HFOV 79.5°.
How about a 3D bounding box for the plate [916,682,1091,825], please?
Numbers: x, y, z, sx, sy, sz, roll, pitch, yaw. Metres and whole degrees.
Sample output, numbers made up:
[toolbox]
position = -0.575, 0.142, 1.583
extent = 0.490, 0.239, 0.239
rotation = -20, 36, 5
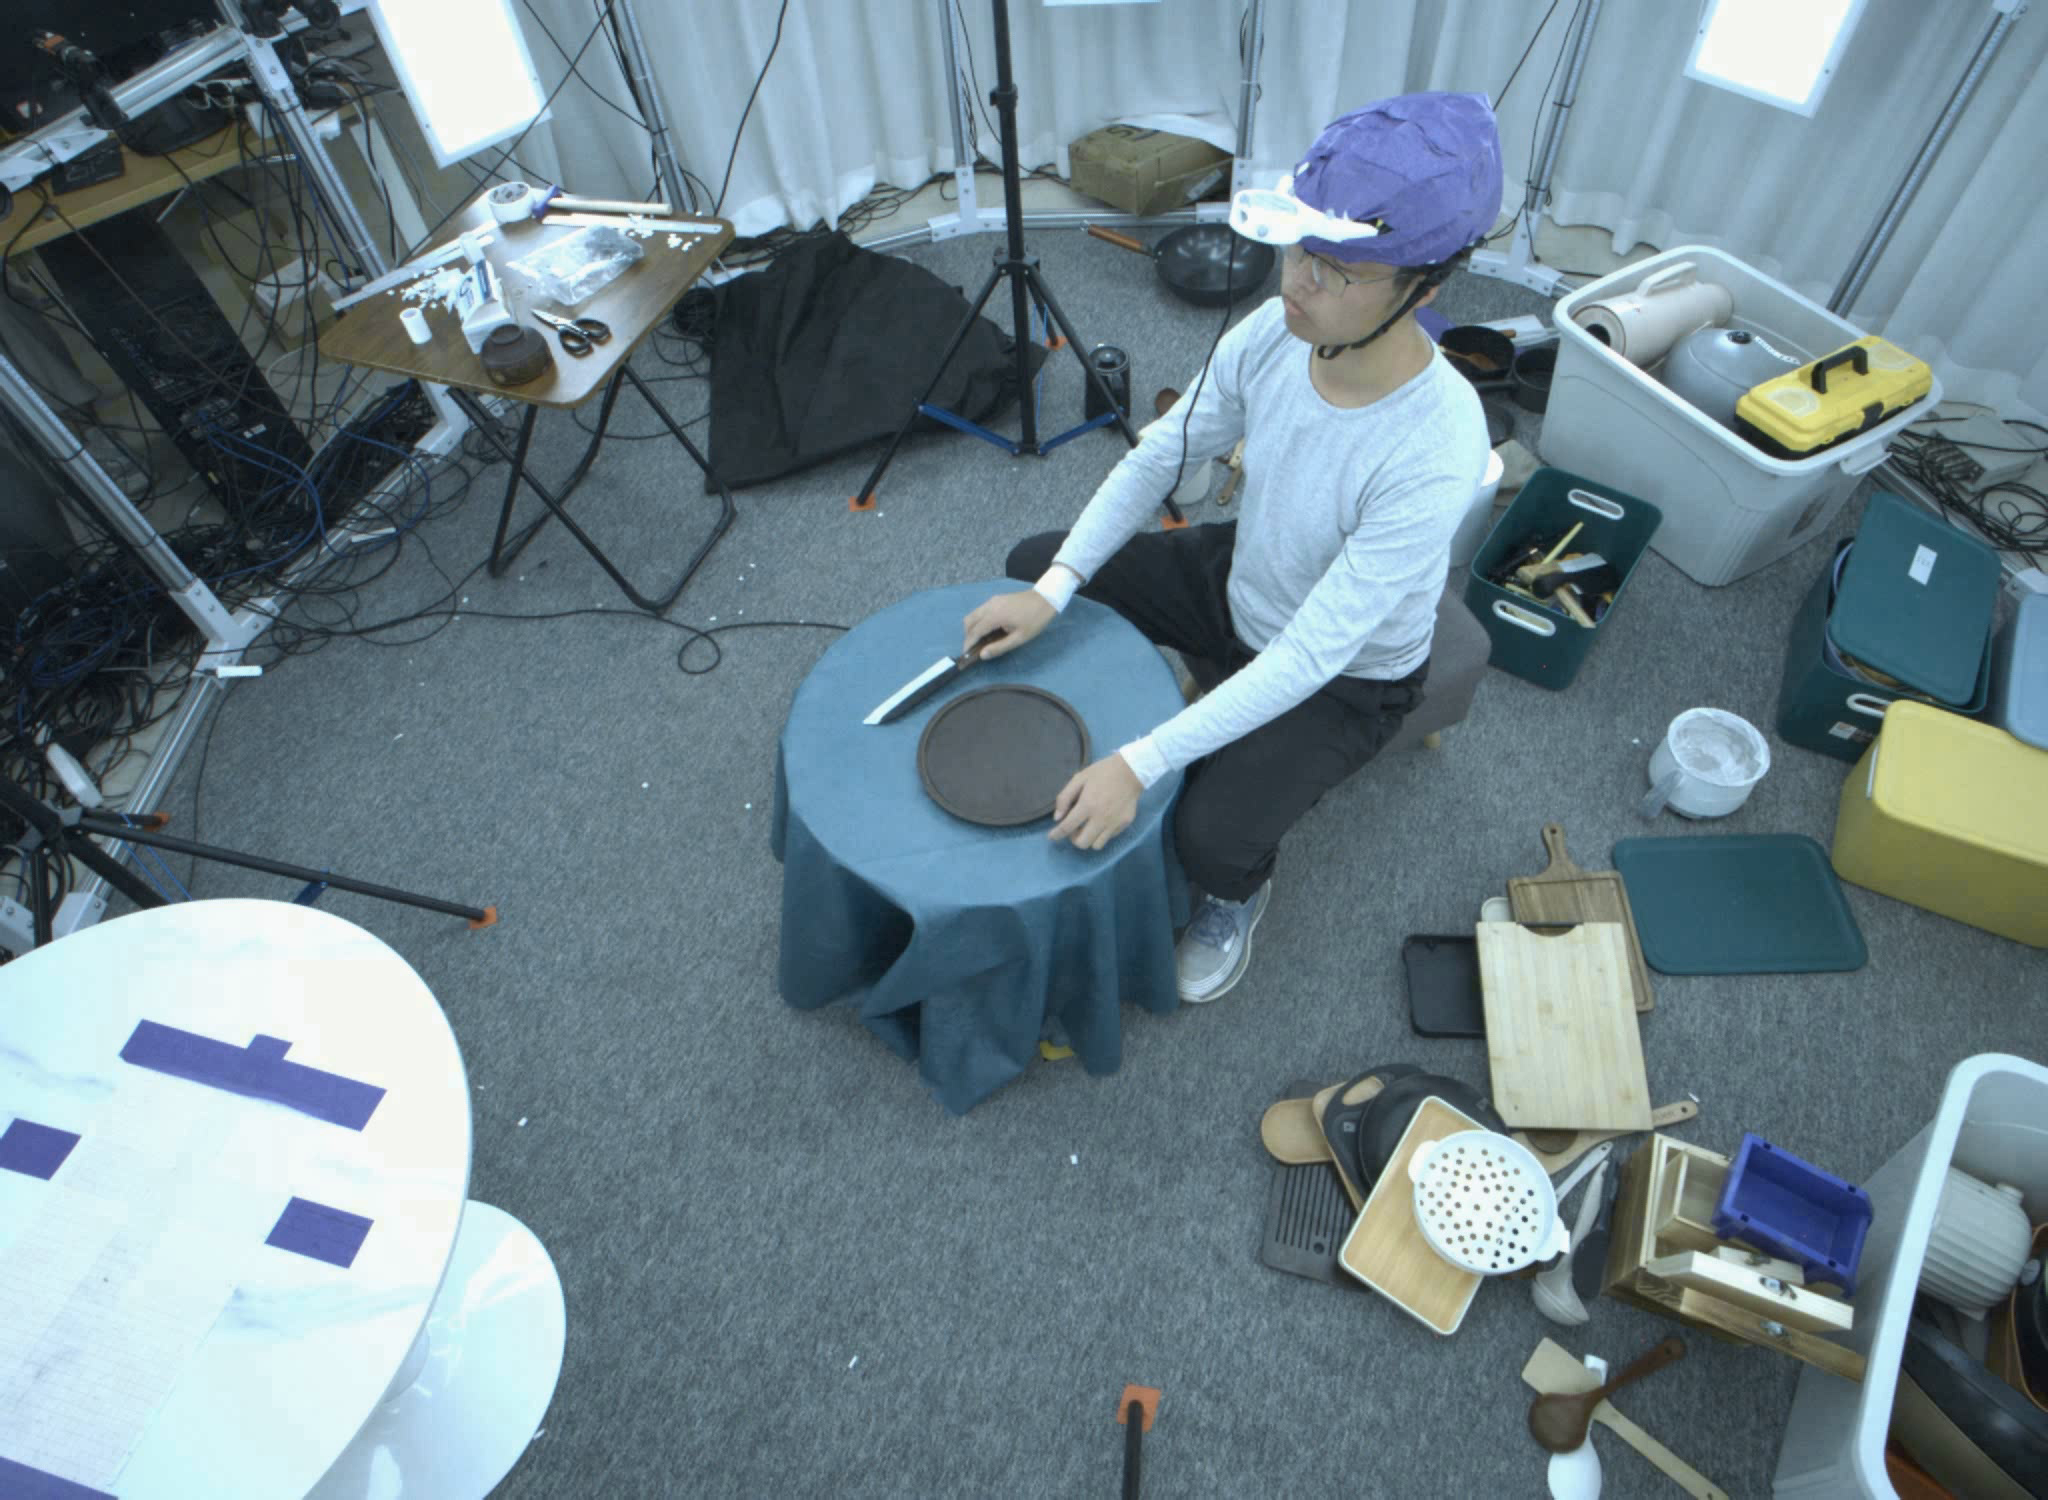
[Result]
[plate]
position = -0.030, 0.004, 1.777
extent = 0.254, 0.029, 0.252
rotation = 0, 52, 1

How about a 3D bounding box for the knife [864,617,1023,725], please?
[knife]
position = -0.122, -0.119, 1.861
extent = 0.290, 0.020, 0.049
rotation = -35, 51, -14
